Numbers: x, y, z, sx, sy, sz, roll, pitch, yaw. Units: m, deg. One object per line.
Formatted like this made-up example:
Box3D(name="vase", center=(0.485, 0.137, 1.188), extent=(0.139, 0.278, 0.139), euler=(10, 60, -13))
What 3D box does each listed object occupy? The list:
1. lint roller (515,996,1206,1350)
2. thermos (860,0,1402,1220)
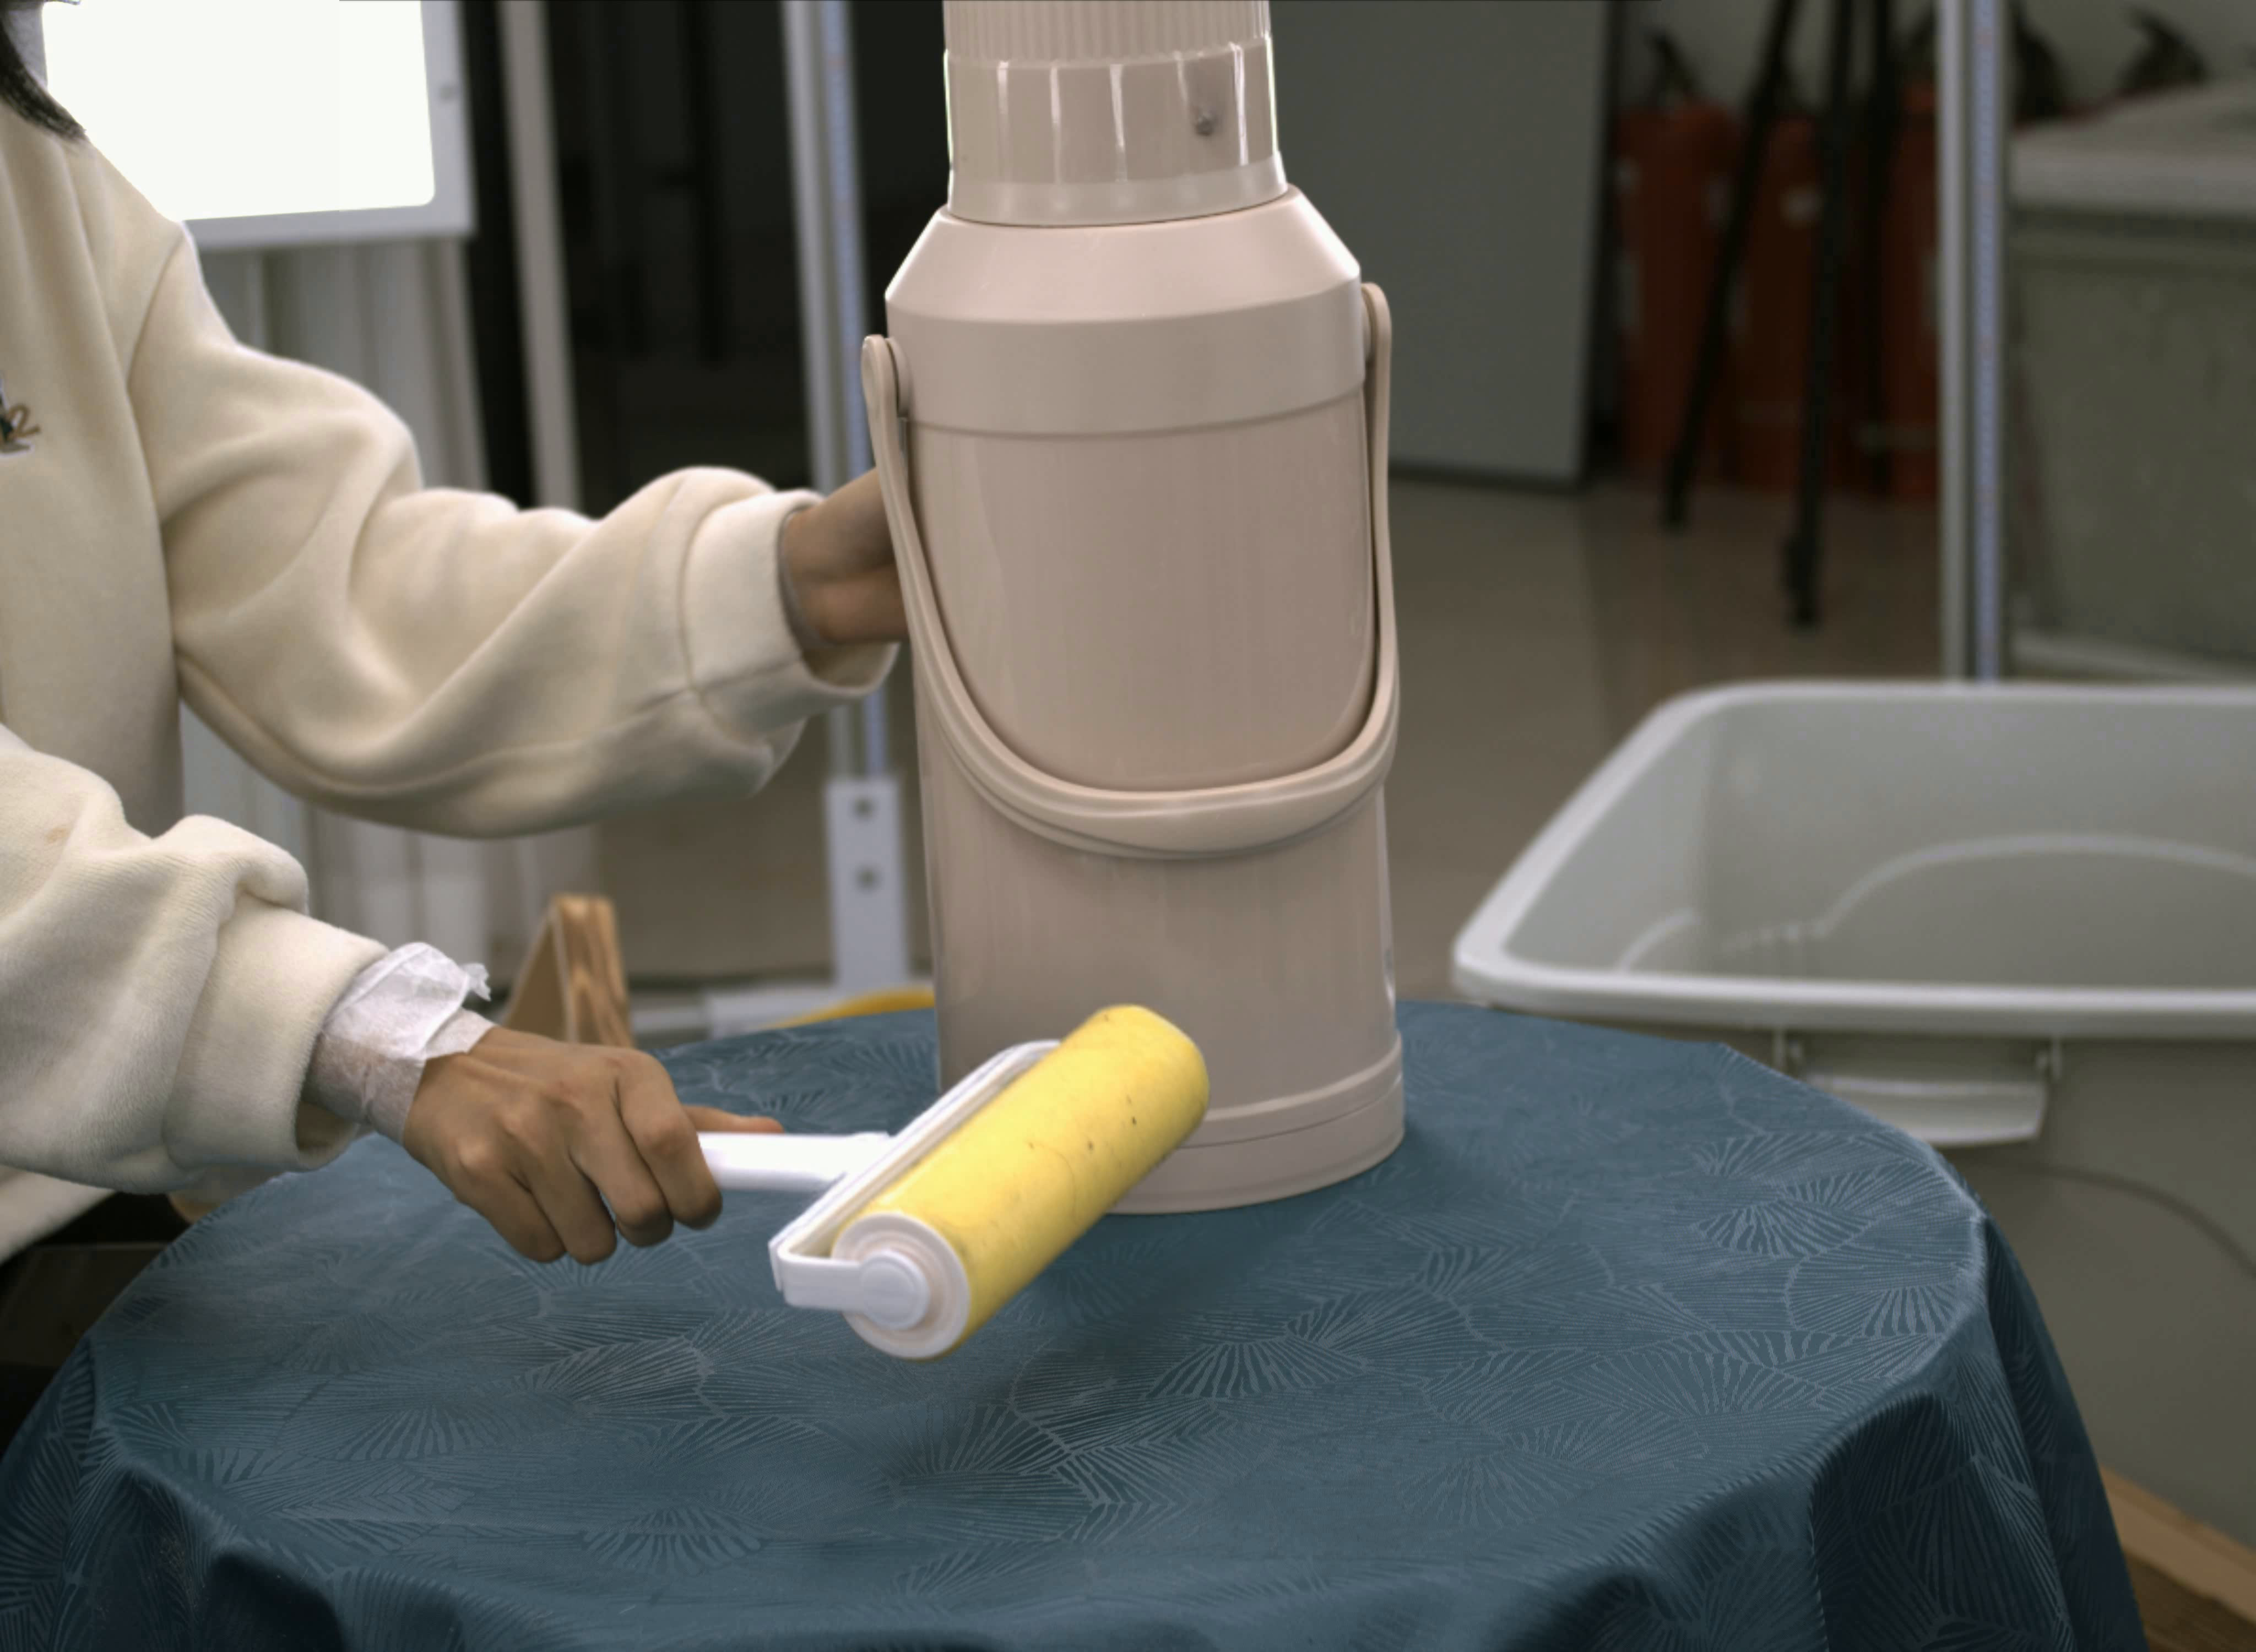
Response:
Box3D(name="lint roller", center=(-0.095, 0.088, 1.580), extent=(0.192, 0.052, 0.172), euler=(10, 23, 23))
Box3D(name="thermos", center=(0.001, -0.088, 1.786), extent=(0.172, 0.411, 0.208), euler=(-8, 13, -14))
